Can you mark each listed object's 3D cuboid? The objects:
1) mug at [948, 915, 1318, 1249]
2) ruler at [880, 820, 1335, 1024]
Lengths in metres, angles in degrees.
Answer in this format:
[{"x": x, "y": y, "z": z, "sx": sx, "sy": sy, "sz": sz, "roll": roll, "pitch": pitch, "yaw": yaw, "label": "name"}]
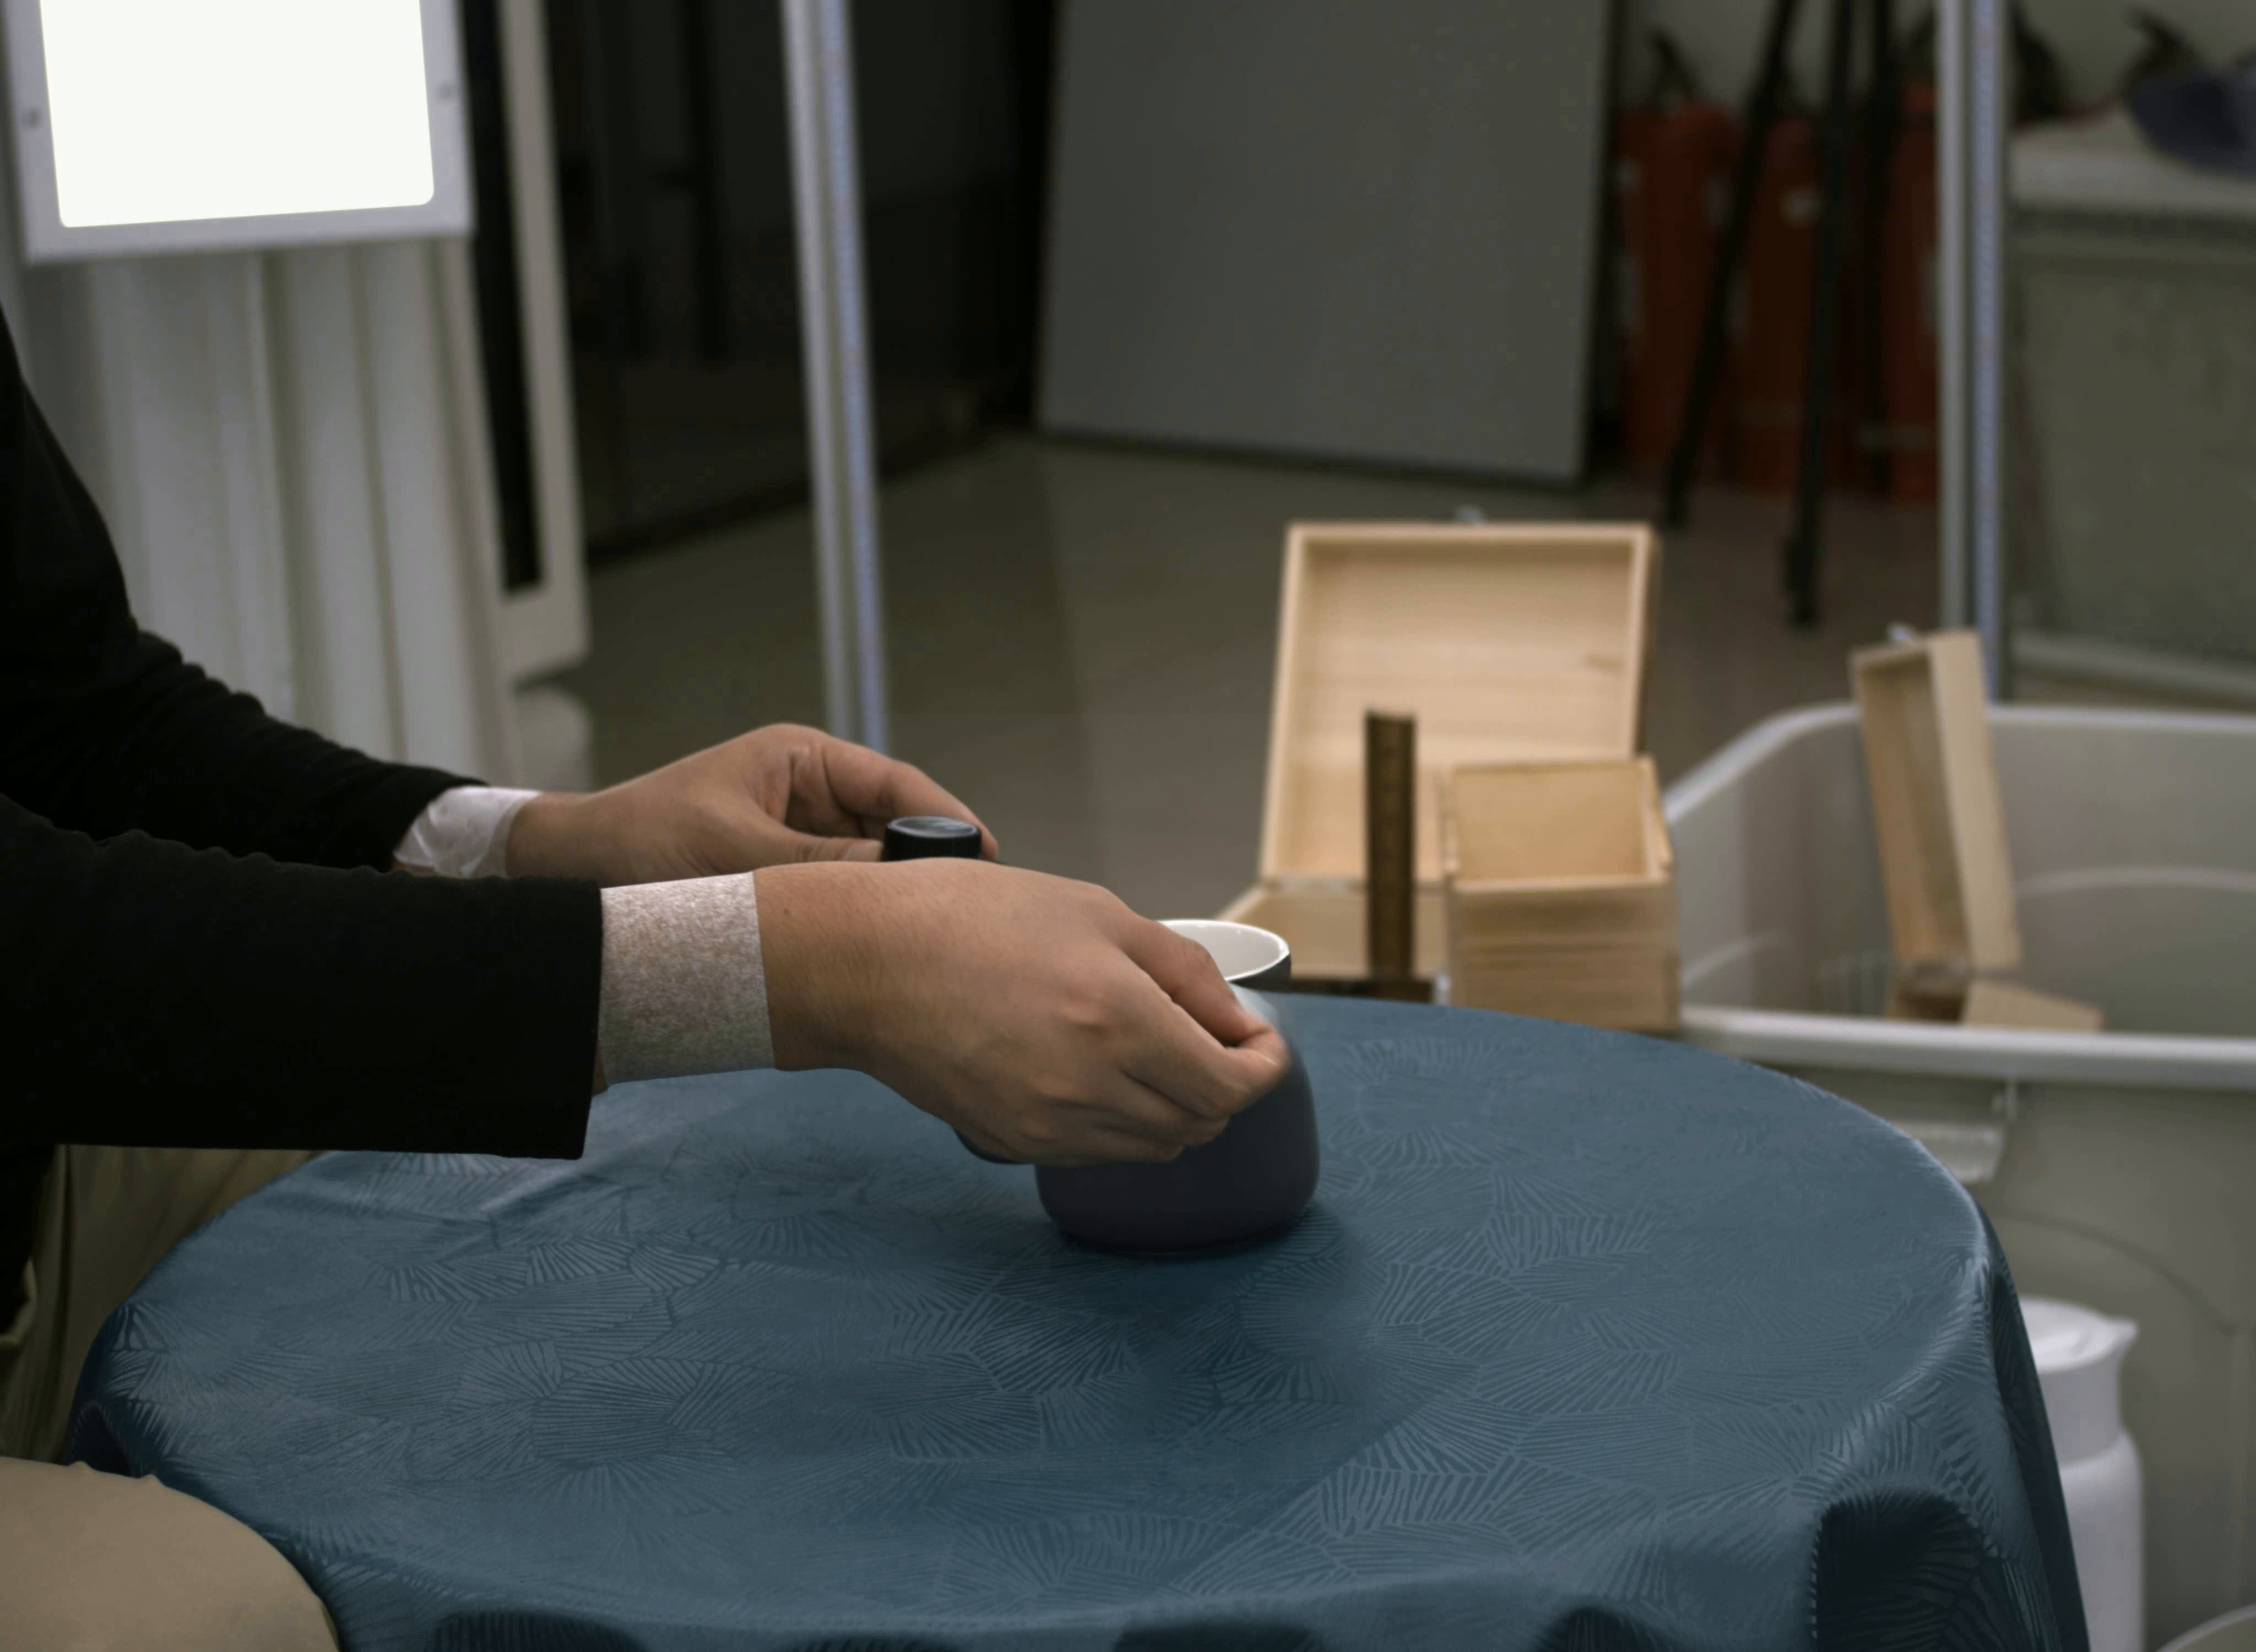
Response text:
[{"x": 0.000, "y": 0.081, "z": 1.734, "sx": 0.123, "sy": 0.091, "sz": 0.092, "roll": 3, "pitch": 14, "yaw": 19, "label": "mug"}, {"x": -0.013, "y": 0.028, "z": 1.689, "sx": 0.037, "sy": 0.024, "sz": 0.220, "roll": -12, "pitch": 16, "yaw": -32, "label": "ruler"}]
